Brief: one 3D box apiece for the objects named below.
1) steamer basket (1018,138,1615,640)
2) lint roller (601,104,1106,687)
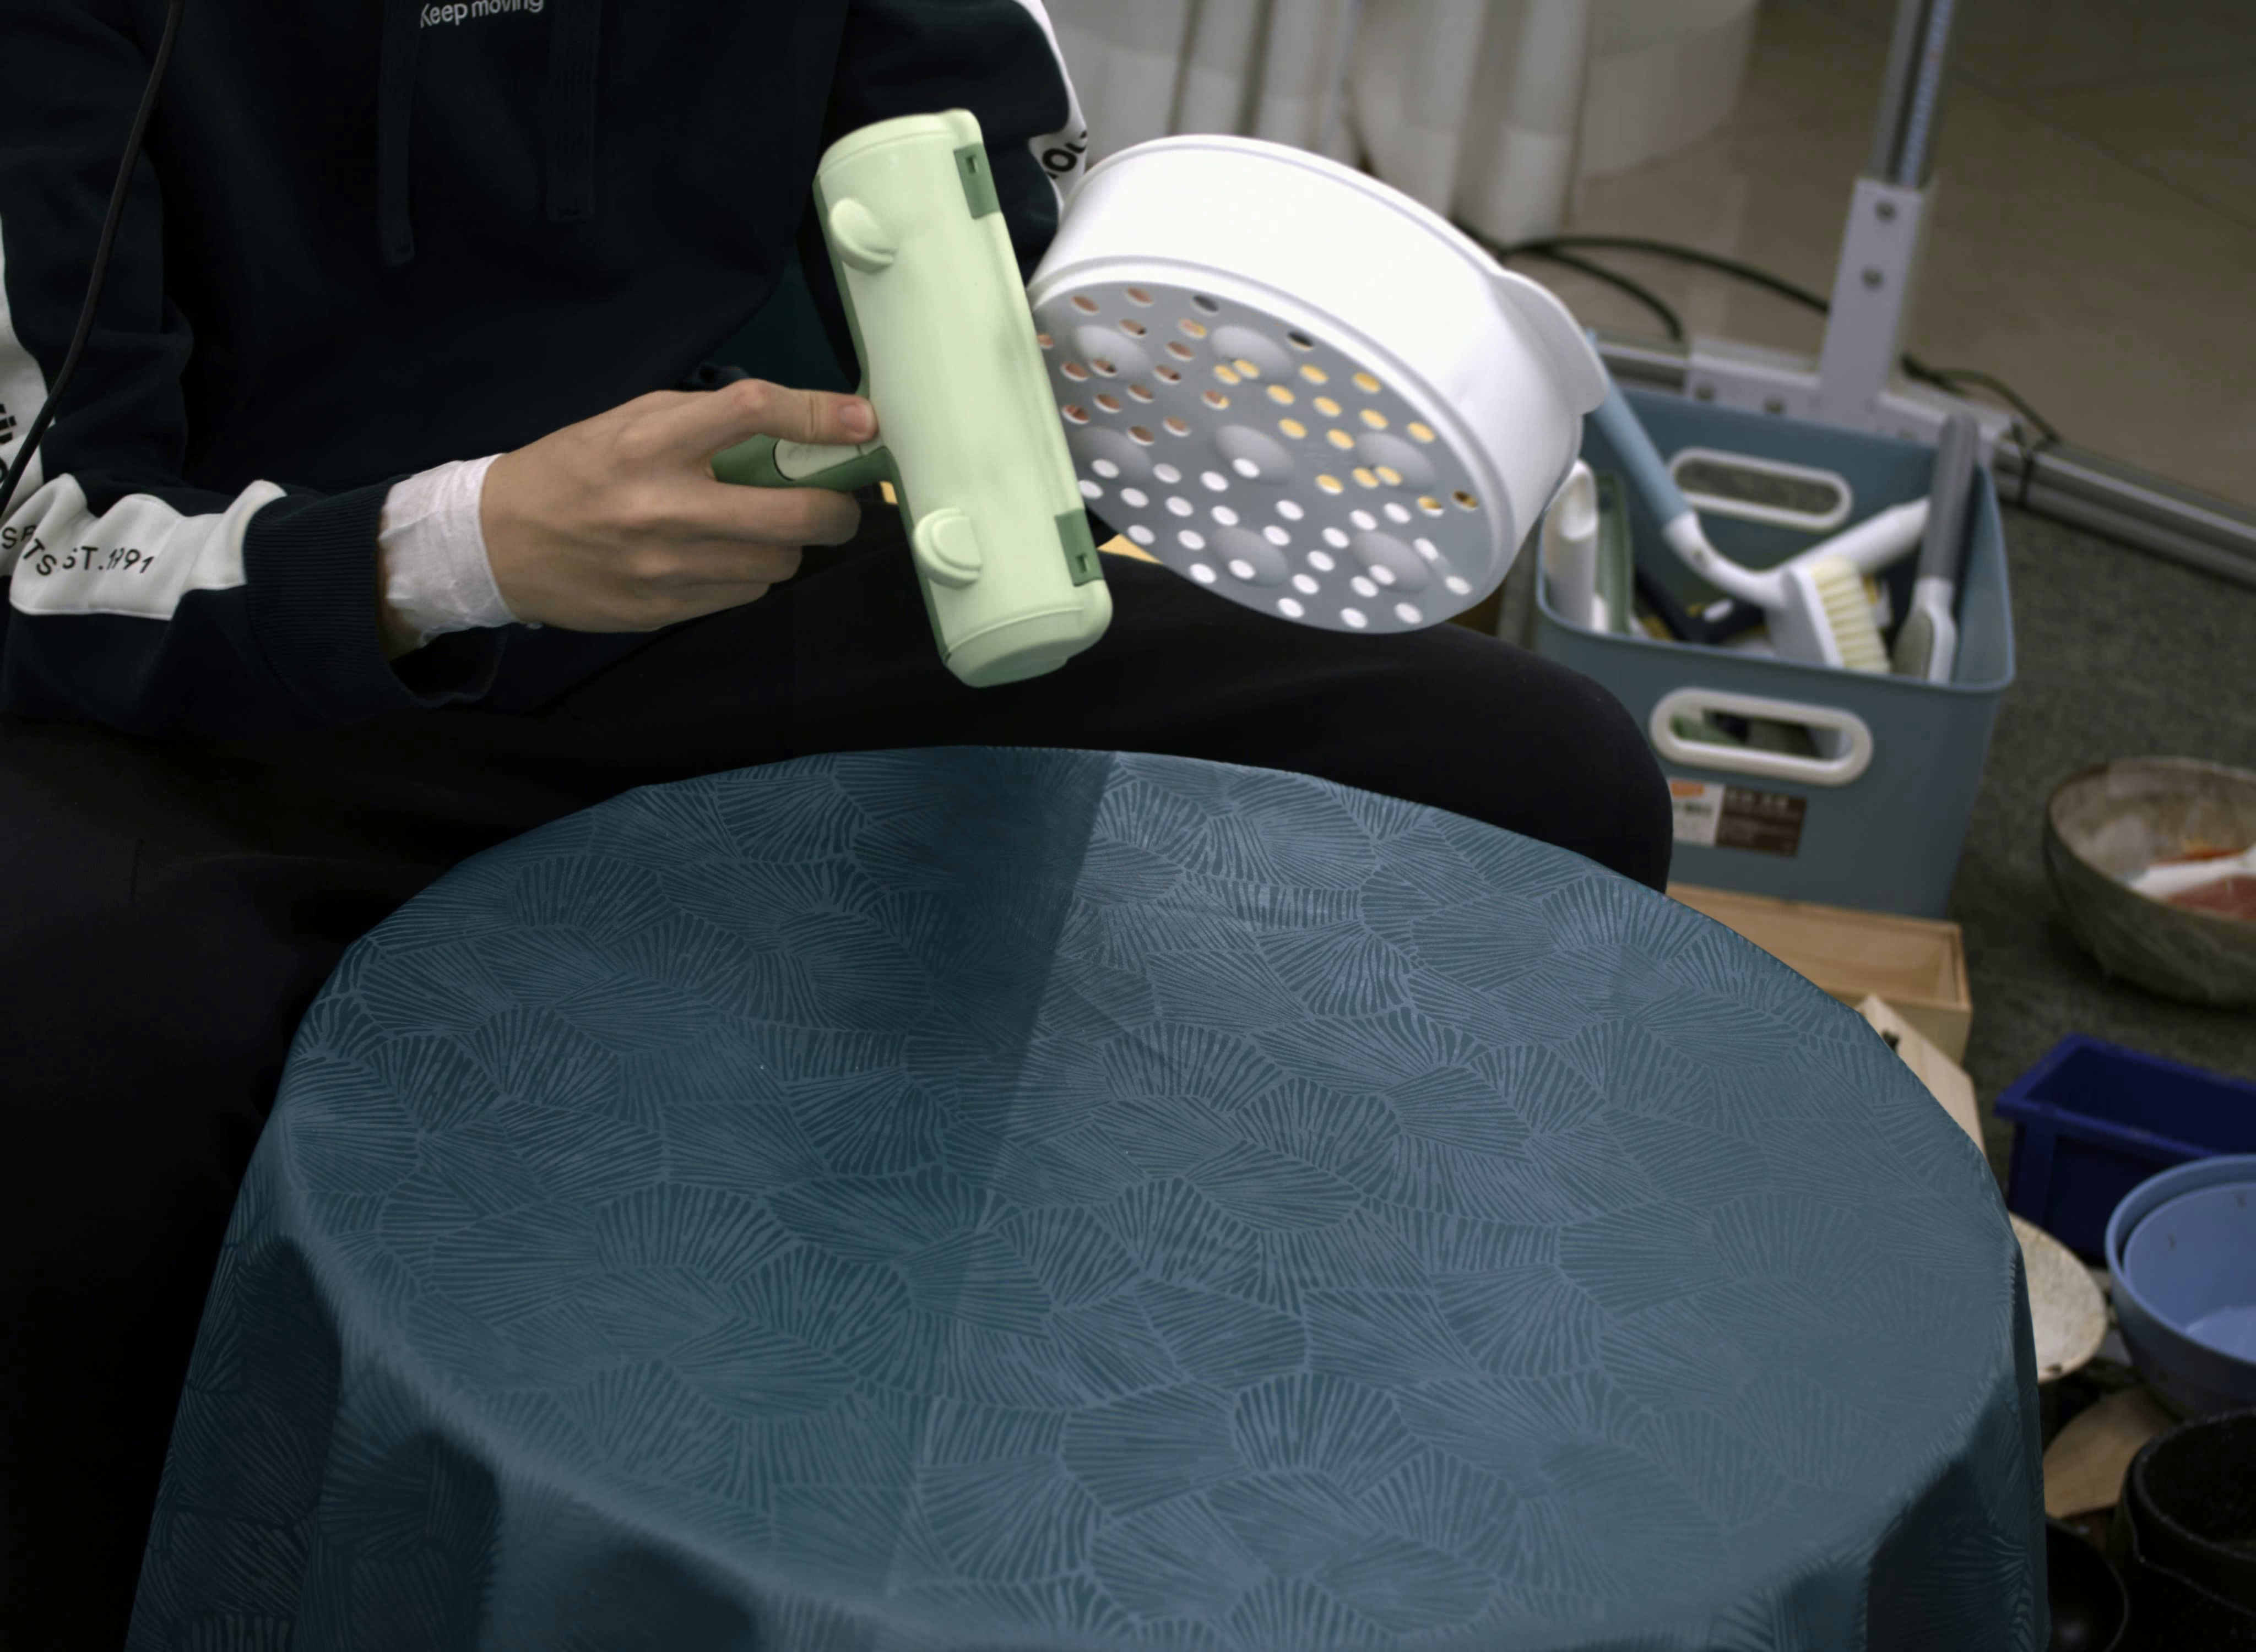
[{"bbox_3d":[0.056,-0.146,1.847,0.232,0.200,0.069,6,55,40],"label":"steamer basket"},{"bbox_3d":[-0.113,-0.131,1.834,0.183,0.200,0.081,-19,-13,16],"label":"lint roller"}]
